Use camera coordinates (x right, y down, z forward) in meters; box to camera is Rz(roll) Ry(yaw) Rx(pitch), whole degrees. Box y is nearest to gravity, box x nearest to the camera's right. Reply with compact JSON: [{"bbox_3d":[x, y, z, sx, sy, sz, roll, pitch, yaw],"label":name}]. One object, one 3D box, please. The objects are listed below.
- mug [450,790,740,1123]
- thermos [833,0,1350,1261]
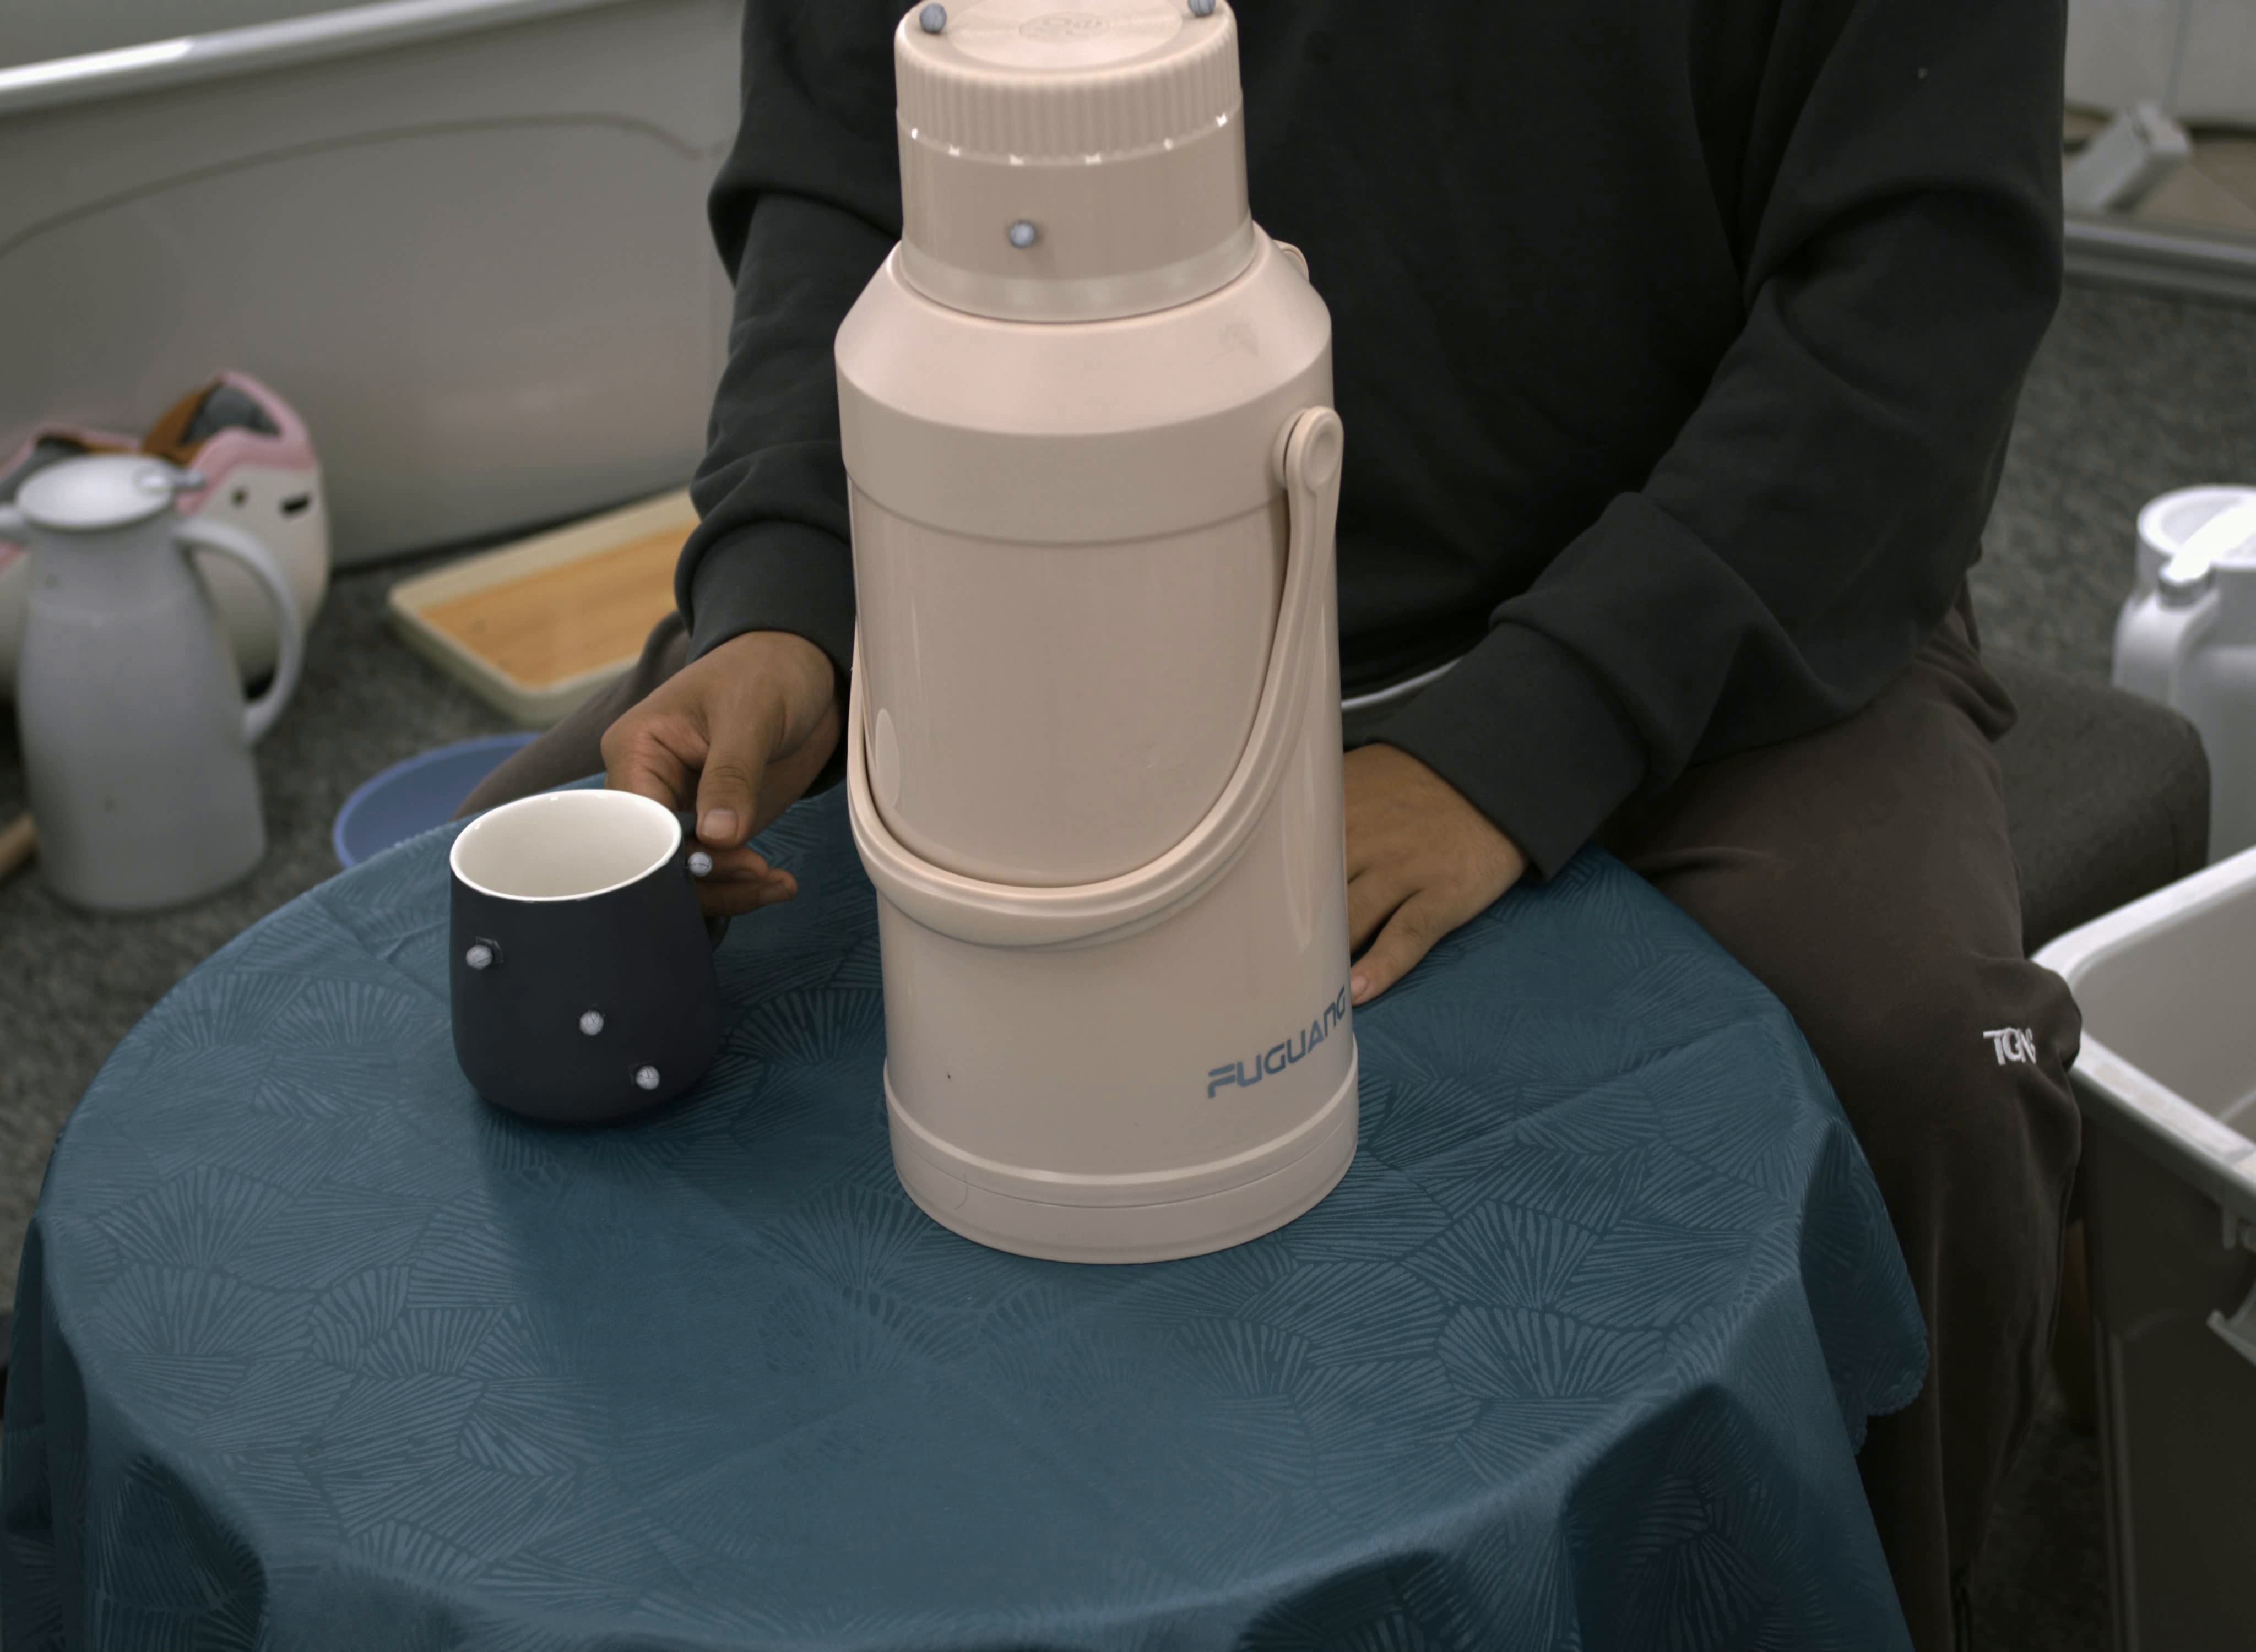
[{"bbox_3d":[-0.179,0.039,1.940,0.093,0.089,0.125,17,34,34],"label":"mug"},{"bbox_3d":[-0.003,-0.075,1.820,0.174,0.402,0.210,13,31,30],"label":"thermos"}]
